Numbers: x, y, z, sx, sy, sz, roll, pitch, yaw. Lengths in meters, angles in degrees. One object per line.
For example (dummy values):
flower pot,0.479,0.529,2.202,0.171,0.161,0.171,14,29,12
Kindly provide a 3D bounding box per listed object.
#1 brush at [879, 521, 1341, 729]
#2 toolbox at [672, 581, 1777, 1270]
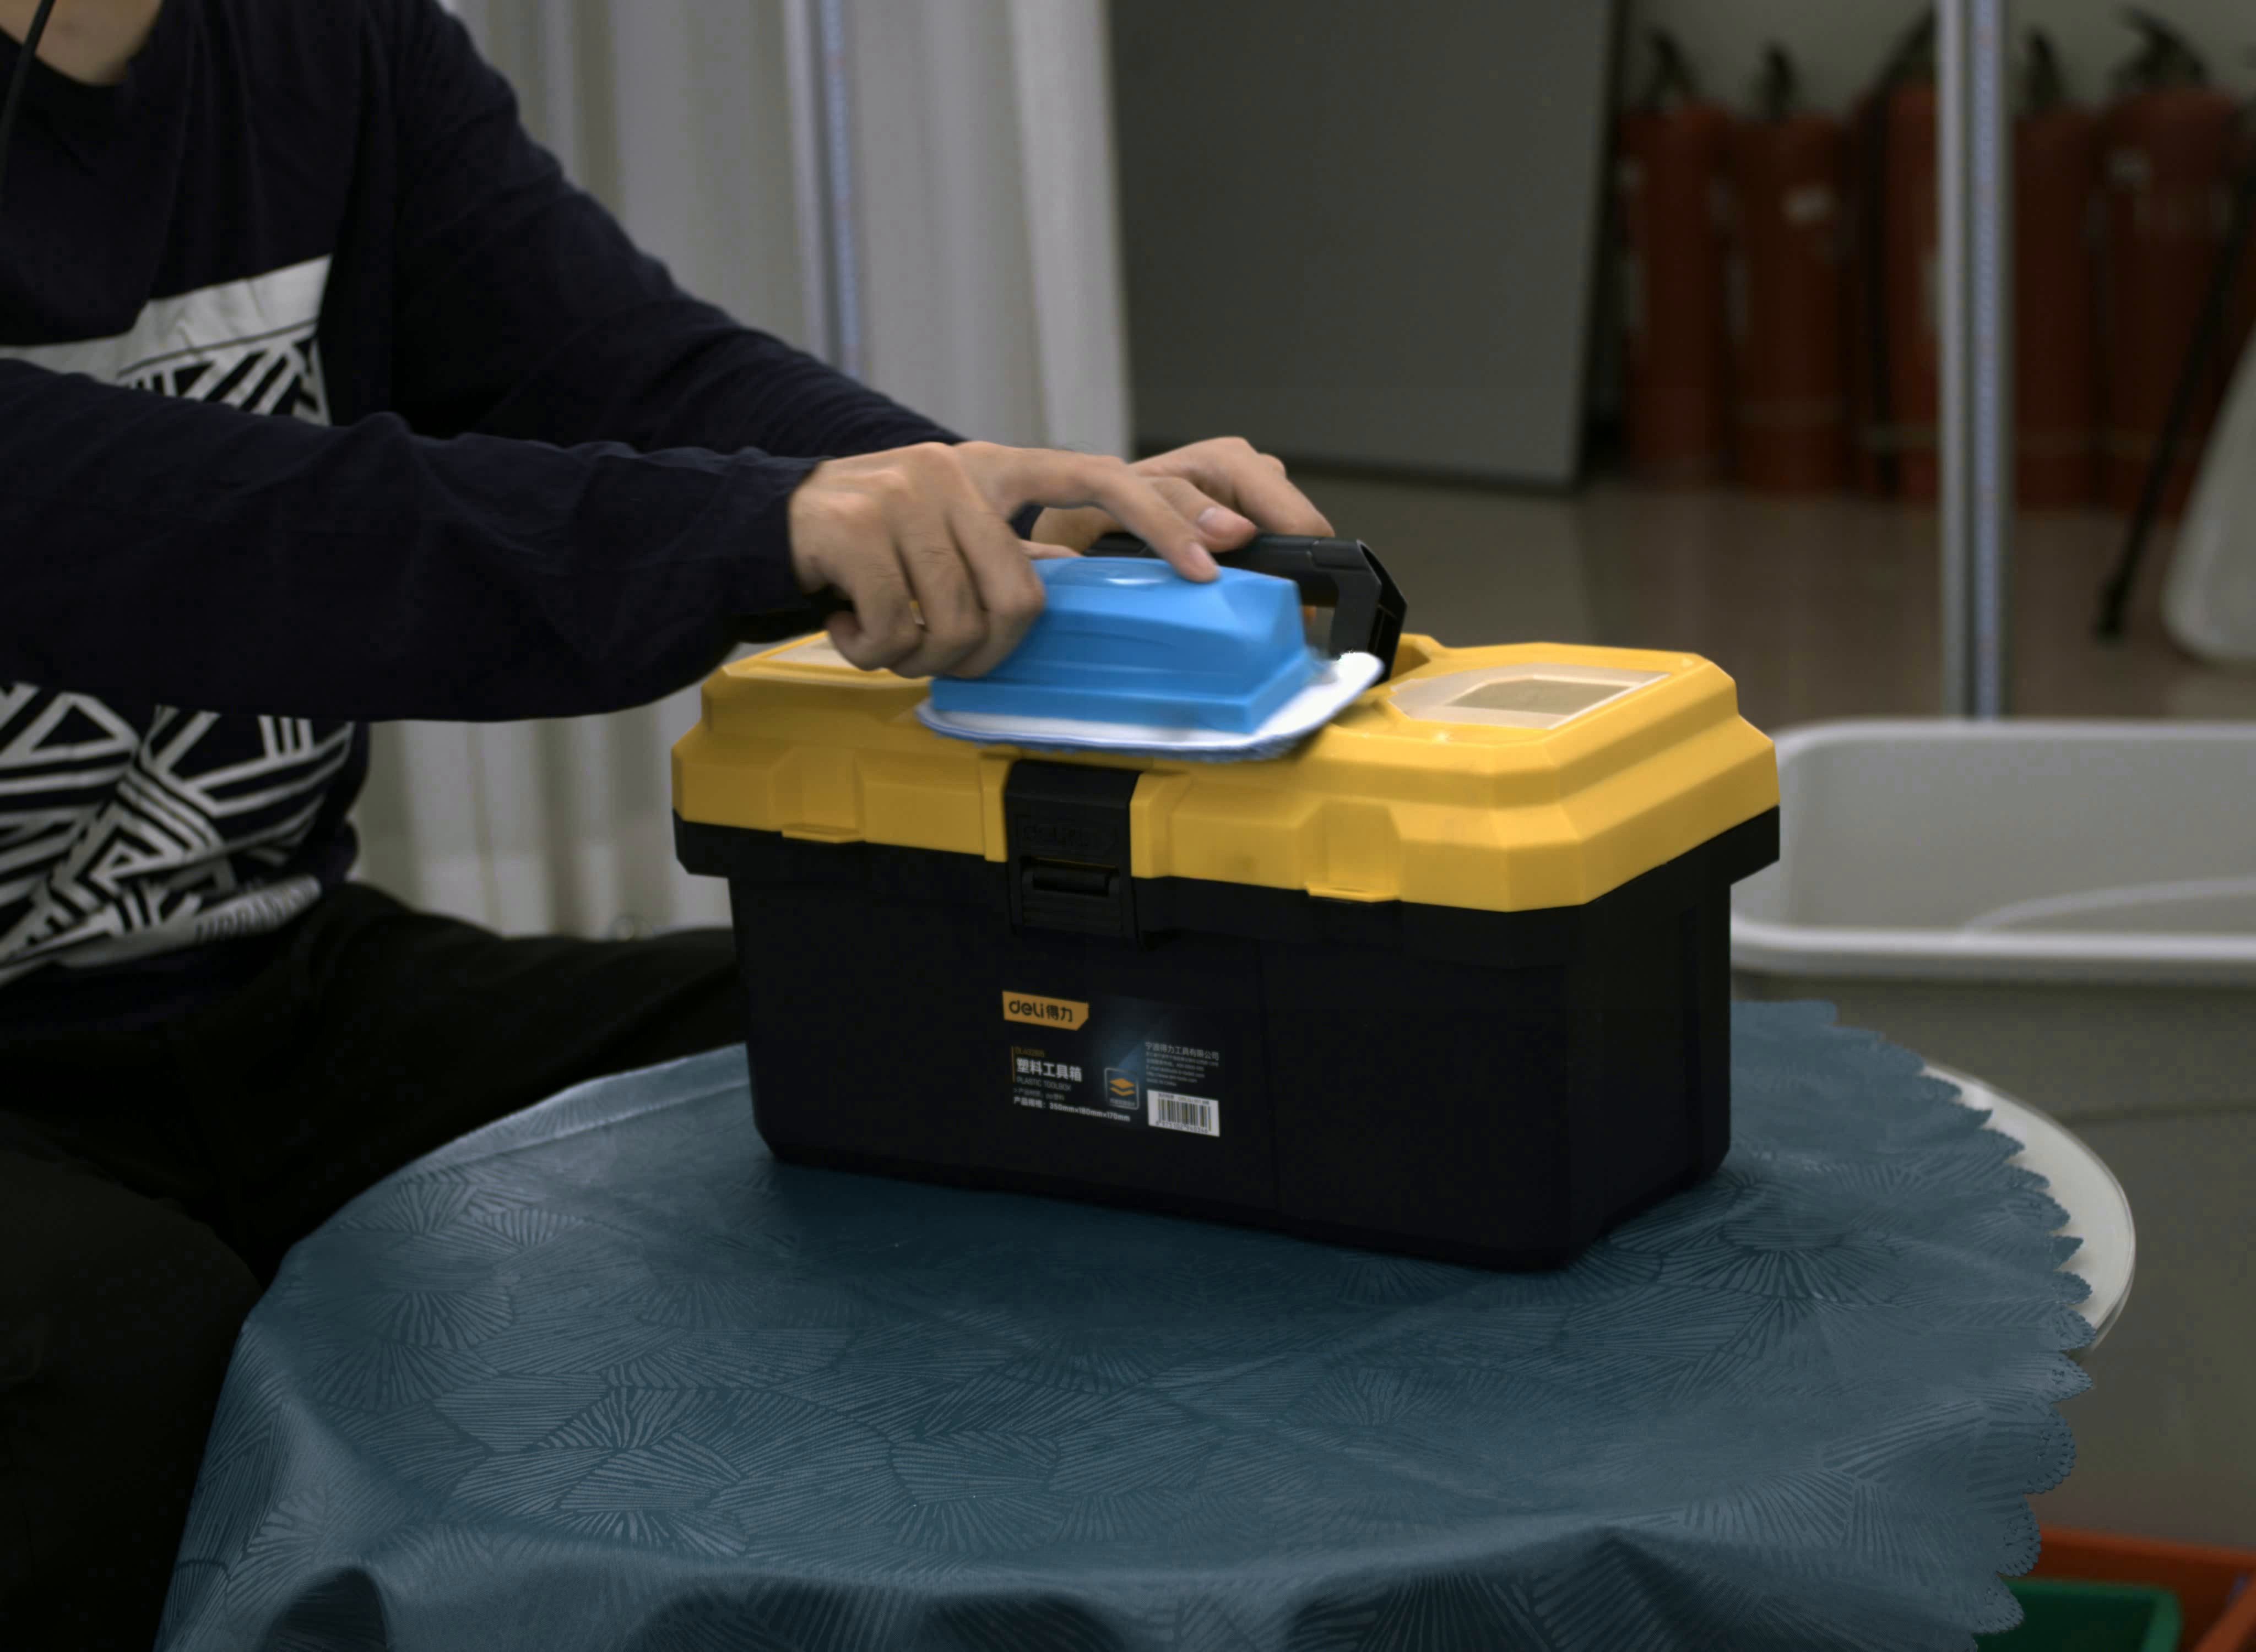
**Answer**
brush,-0.008,-0.064,1.704,0.145,0.056,0.082,7,26,37
toolbox,0.029,0.027,1.775,0.353,0.175,0.178,6,17,34
